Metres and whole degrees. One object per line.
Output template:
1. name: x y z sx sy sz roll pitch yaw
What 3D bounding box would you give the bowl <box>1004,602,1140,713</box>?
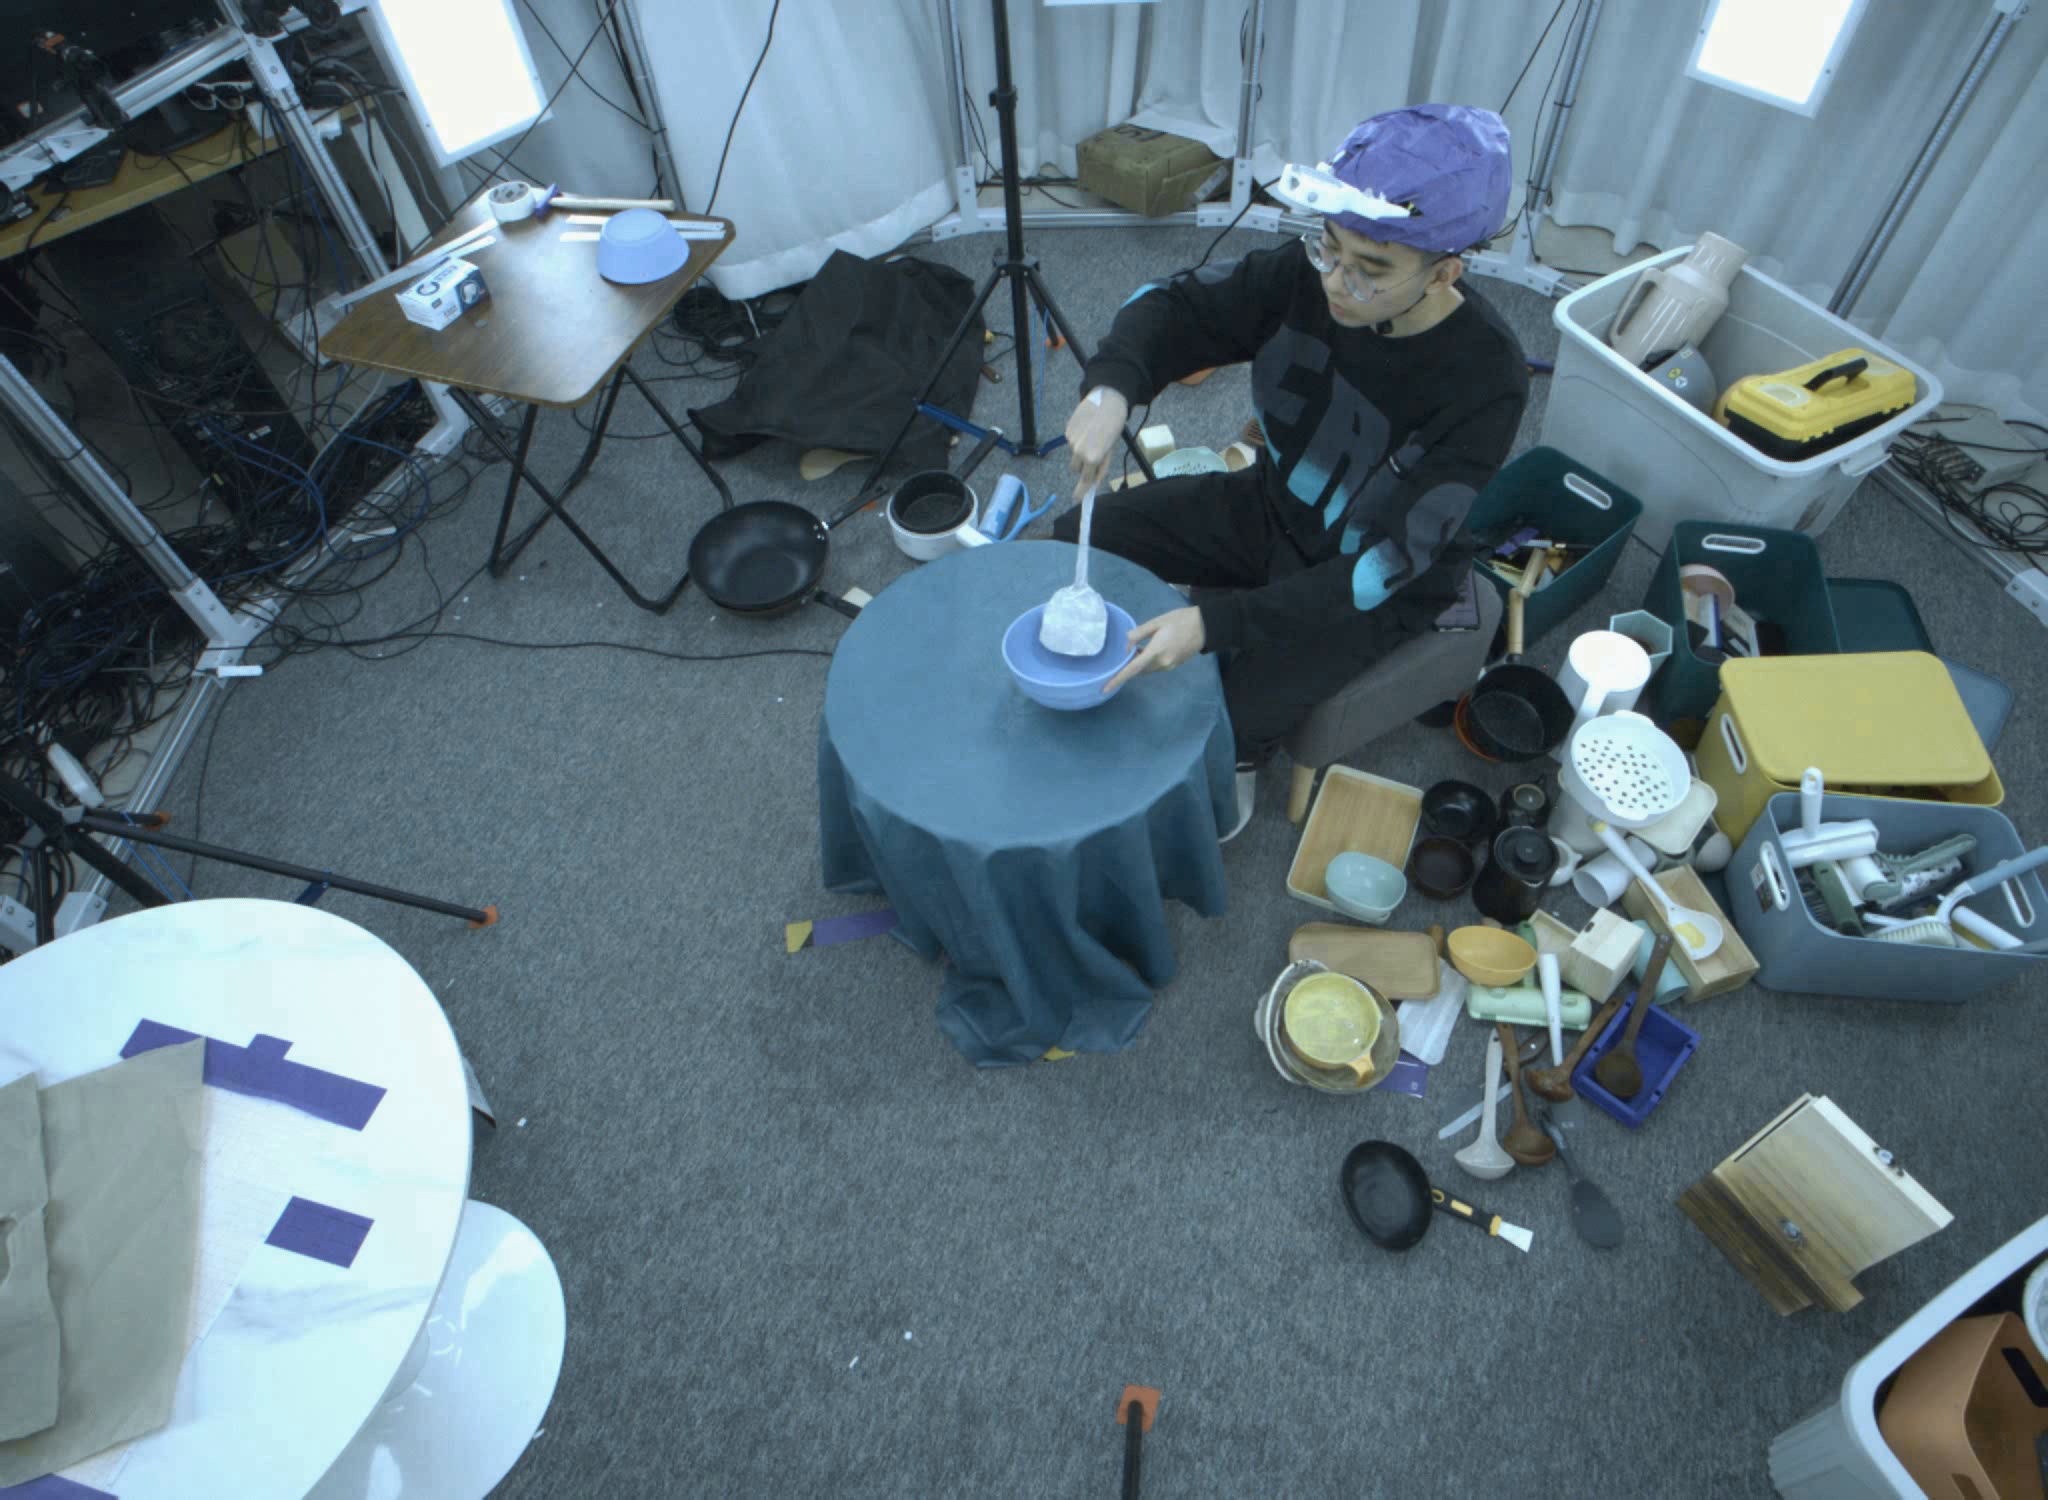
1. bowl: 0.074 -0.120 1.796 0.196 0.097 0.194 -4 45 6

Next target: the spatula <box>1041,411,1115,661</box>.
1. spatula: 0.092 -0.311 1.770 0.098 0.367 0.045 11 21 12
